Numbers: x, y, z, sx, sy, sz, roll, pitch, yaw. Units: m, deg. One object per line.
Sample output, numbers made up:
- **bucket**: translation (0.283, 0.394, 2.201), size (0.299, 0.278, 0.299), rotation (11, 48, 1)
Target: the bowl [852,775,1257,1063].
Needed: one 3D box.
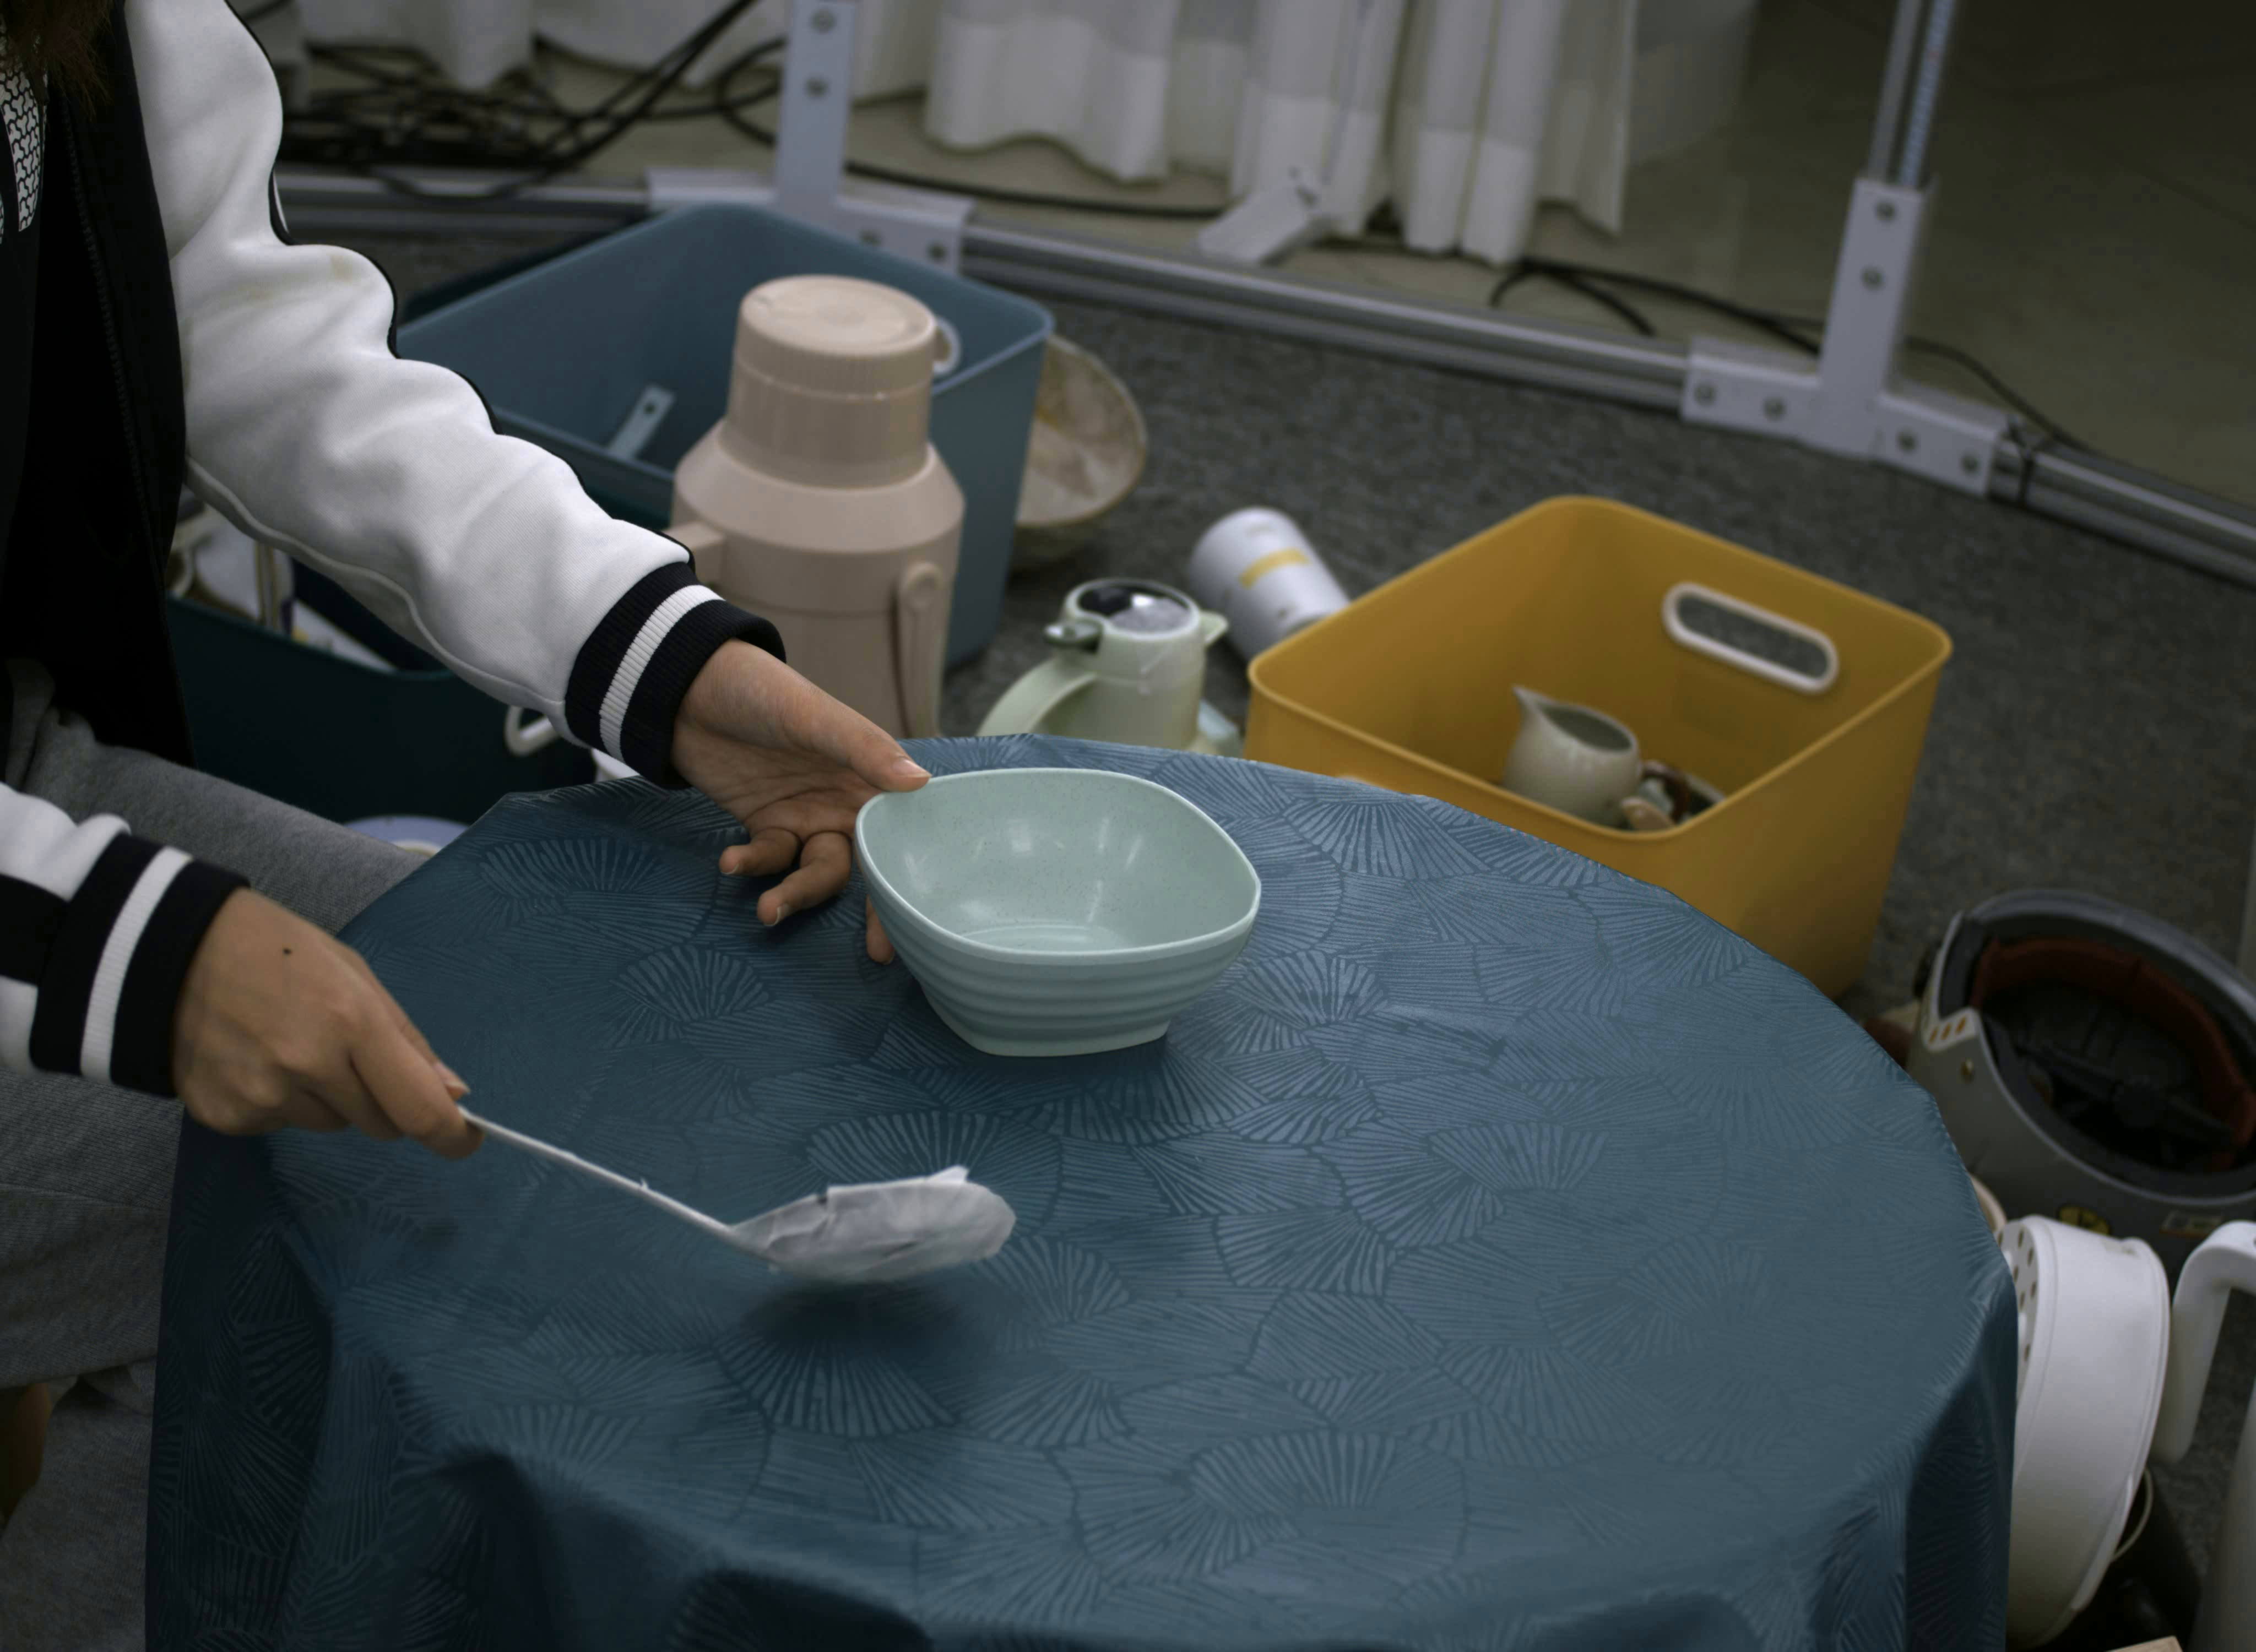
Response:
- **bowl**: translation (-0.029, 0.039, 1.905), size (0.151, 0.058, 0.152), rotation (5, 27, -3)

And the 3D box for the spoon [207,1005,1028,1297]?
- **spoon**: translation (-0.167, 0.092, 1.720), size (0.278, 0.100, 0.059), rotation (22, 70, 17)
